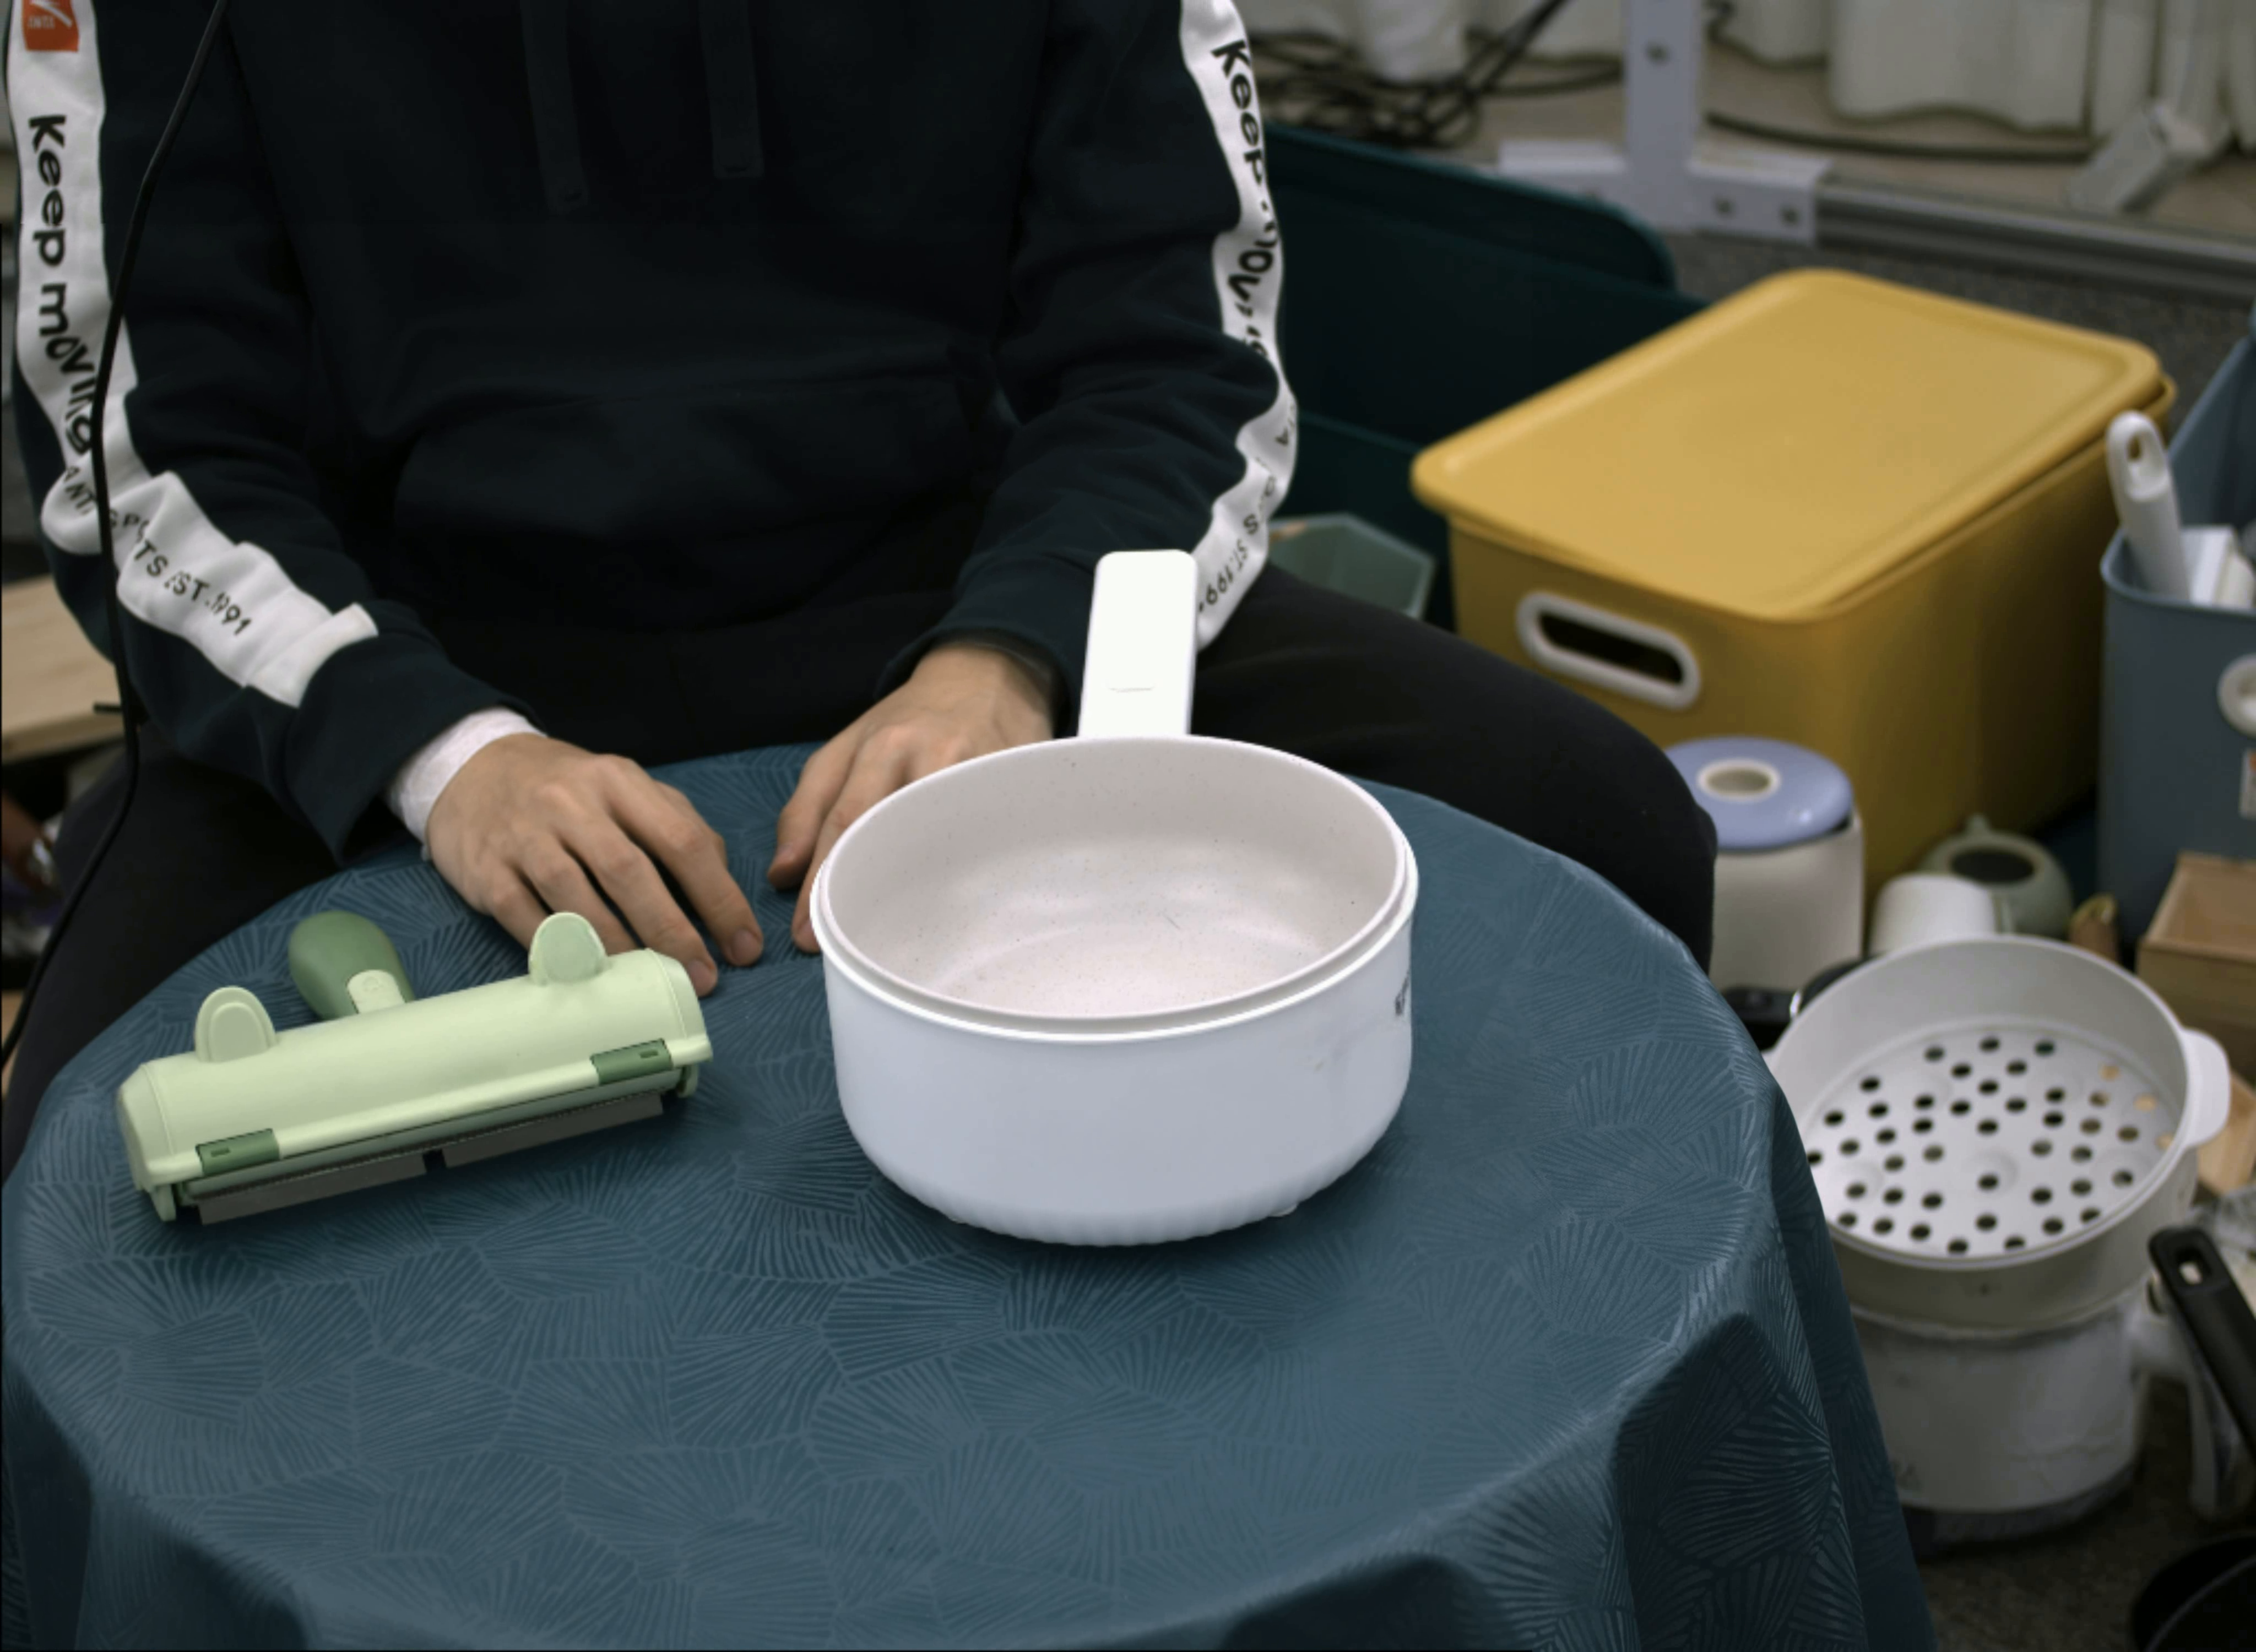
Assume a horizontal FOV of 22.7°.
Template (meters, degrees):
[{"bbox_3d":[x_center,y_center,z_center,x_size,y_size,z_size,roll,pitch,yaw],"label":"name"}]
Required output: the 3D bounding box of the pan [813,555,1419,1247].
[{"bbox_3d":[0.003,0.023,1.943,0.200,0.101,0.360,-1,27,4],"label":"pan"}]

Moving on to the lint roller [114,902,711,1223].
[{"bbox_3d":[-0.260,0.054,1.935,0.199,0.081,0.185,-13,34,-17],"label":"lint roller"}]
